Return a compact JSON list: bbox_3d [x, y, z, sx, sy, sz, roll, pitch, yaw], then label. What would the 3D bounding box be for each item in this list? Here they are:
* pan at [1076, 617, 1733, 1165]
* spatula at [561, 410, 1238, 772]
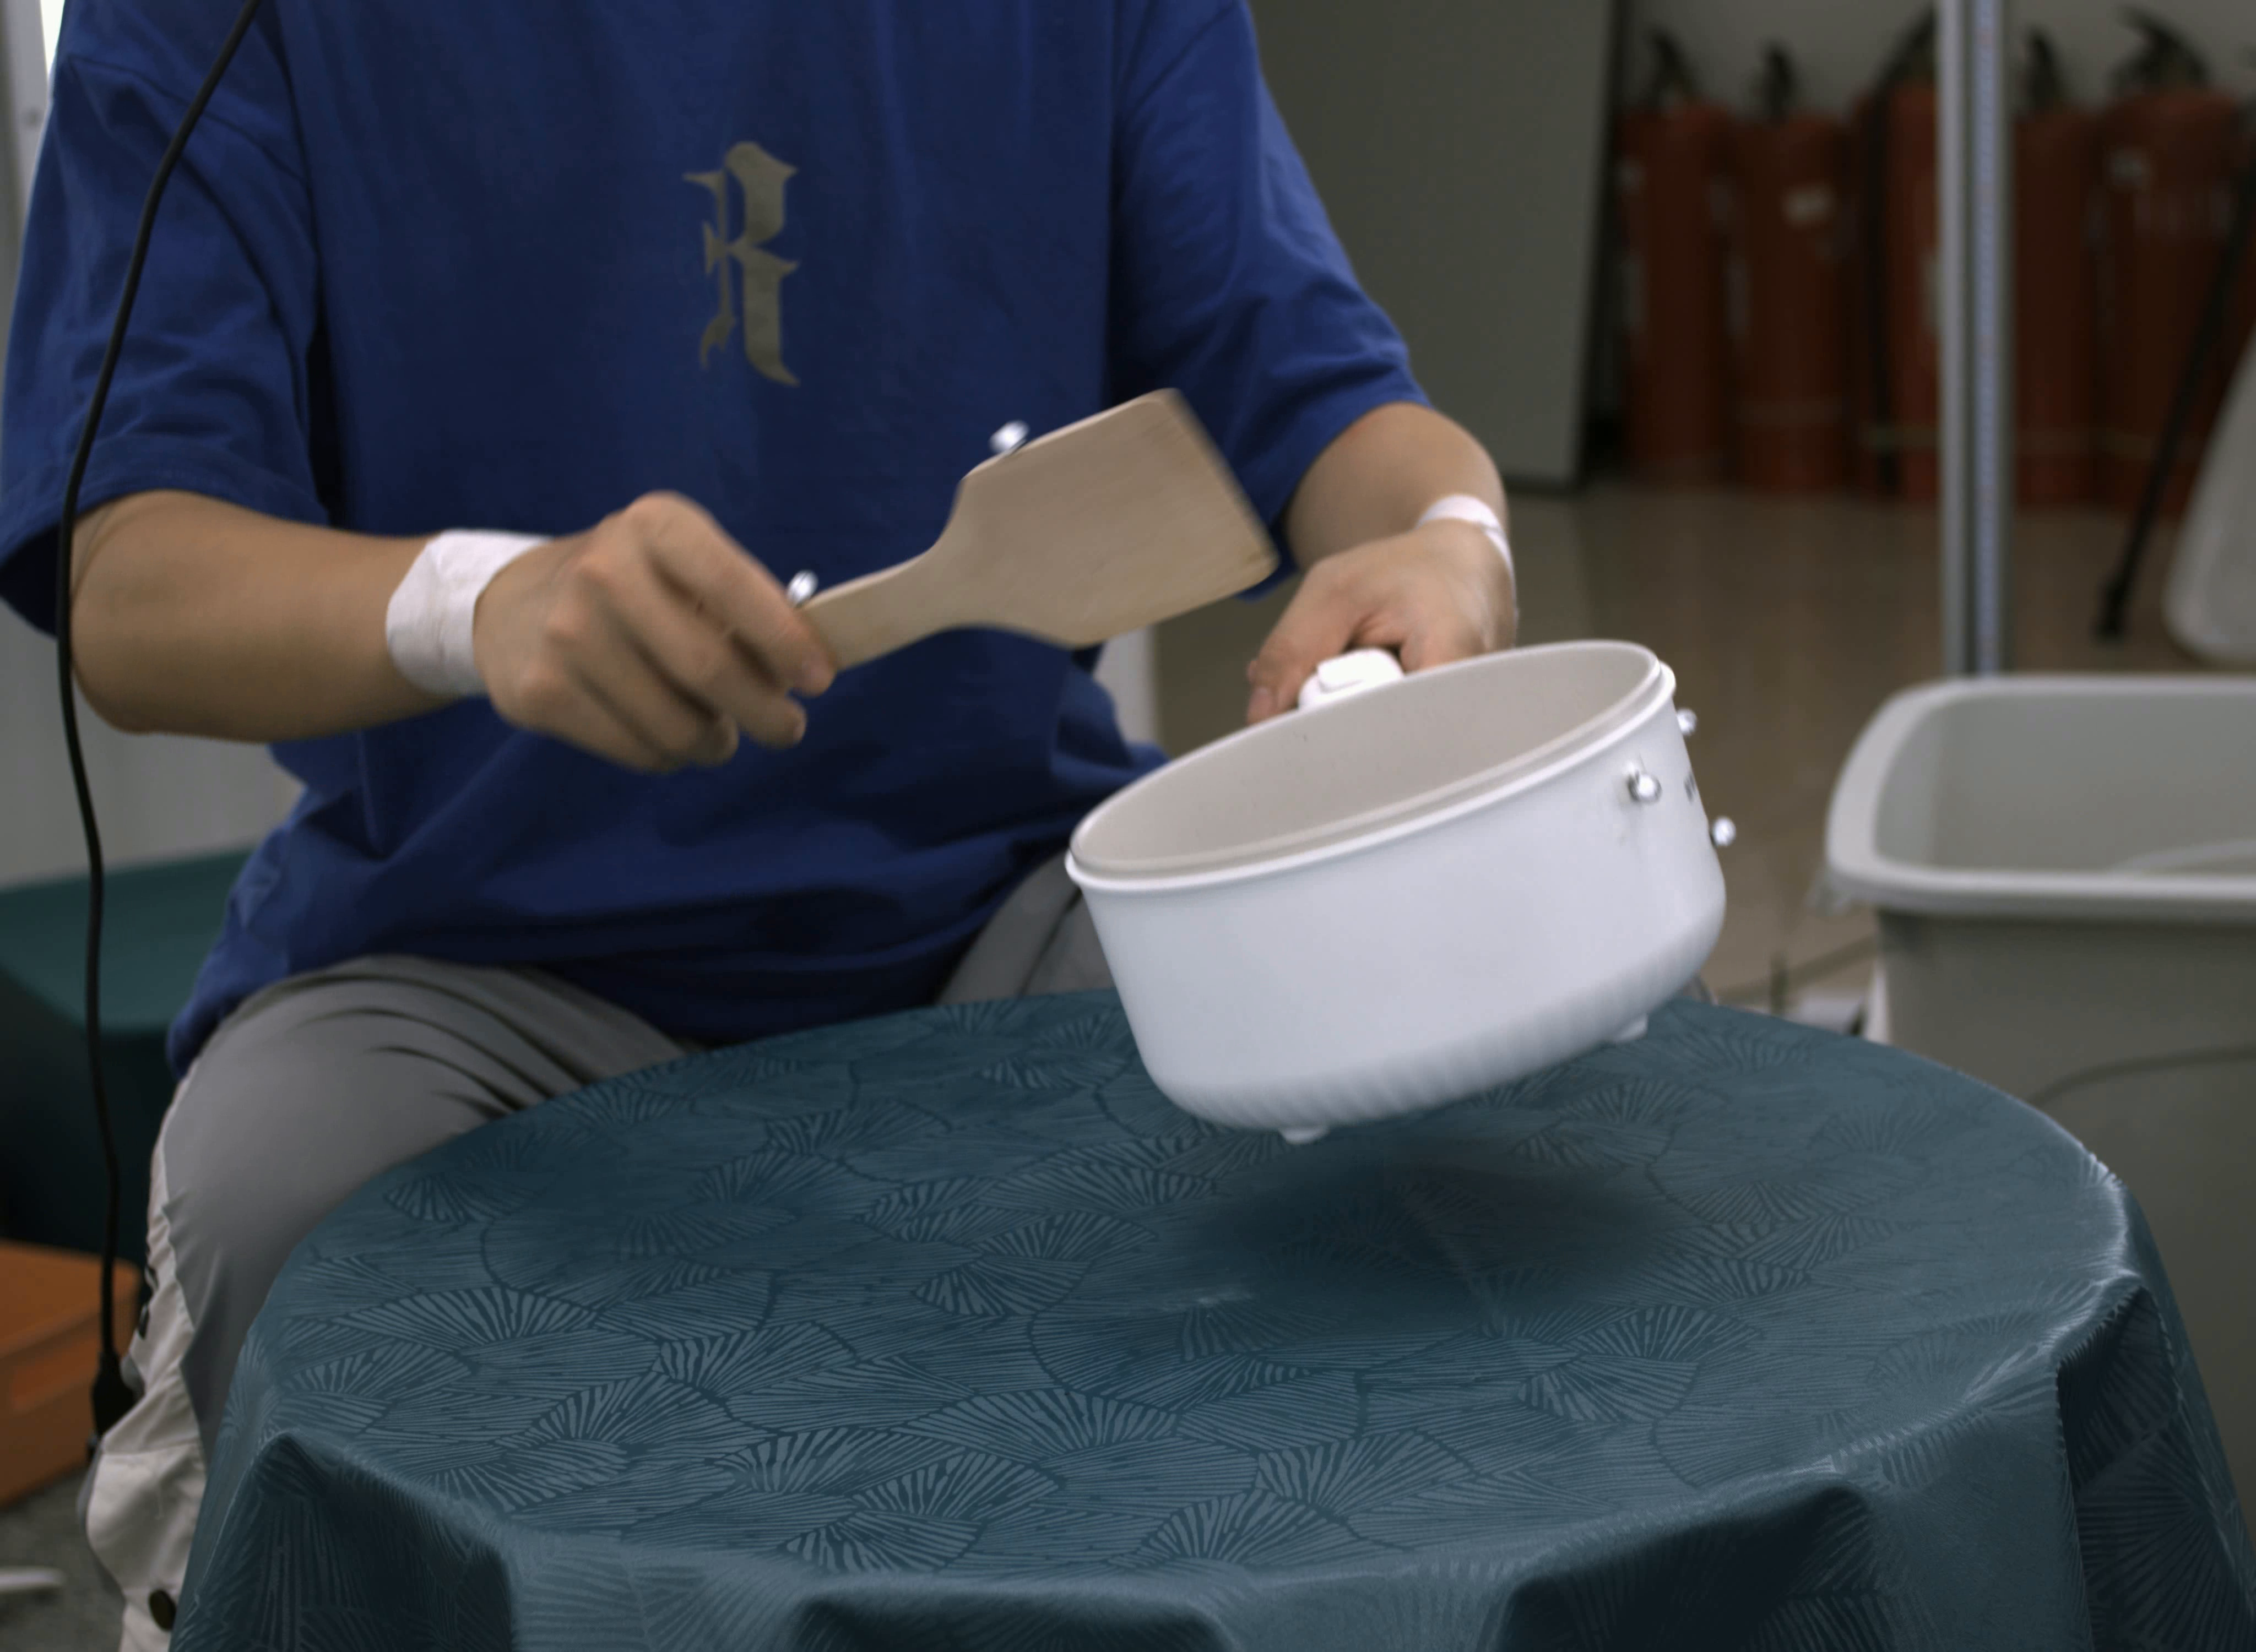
[{"bbox_3d":[0.091,0.011,1.772,0.199,0.103,0.355,-21,11,4],"label":"pan"},{"bbox_3d":[-0.086,-0.064,1.739,0.295,0.072,0.010,-19,23,43],"label":"spatula"}]
